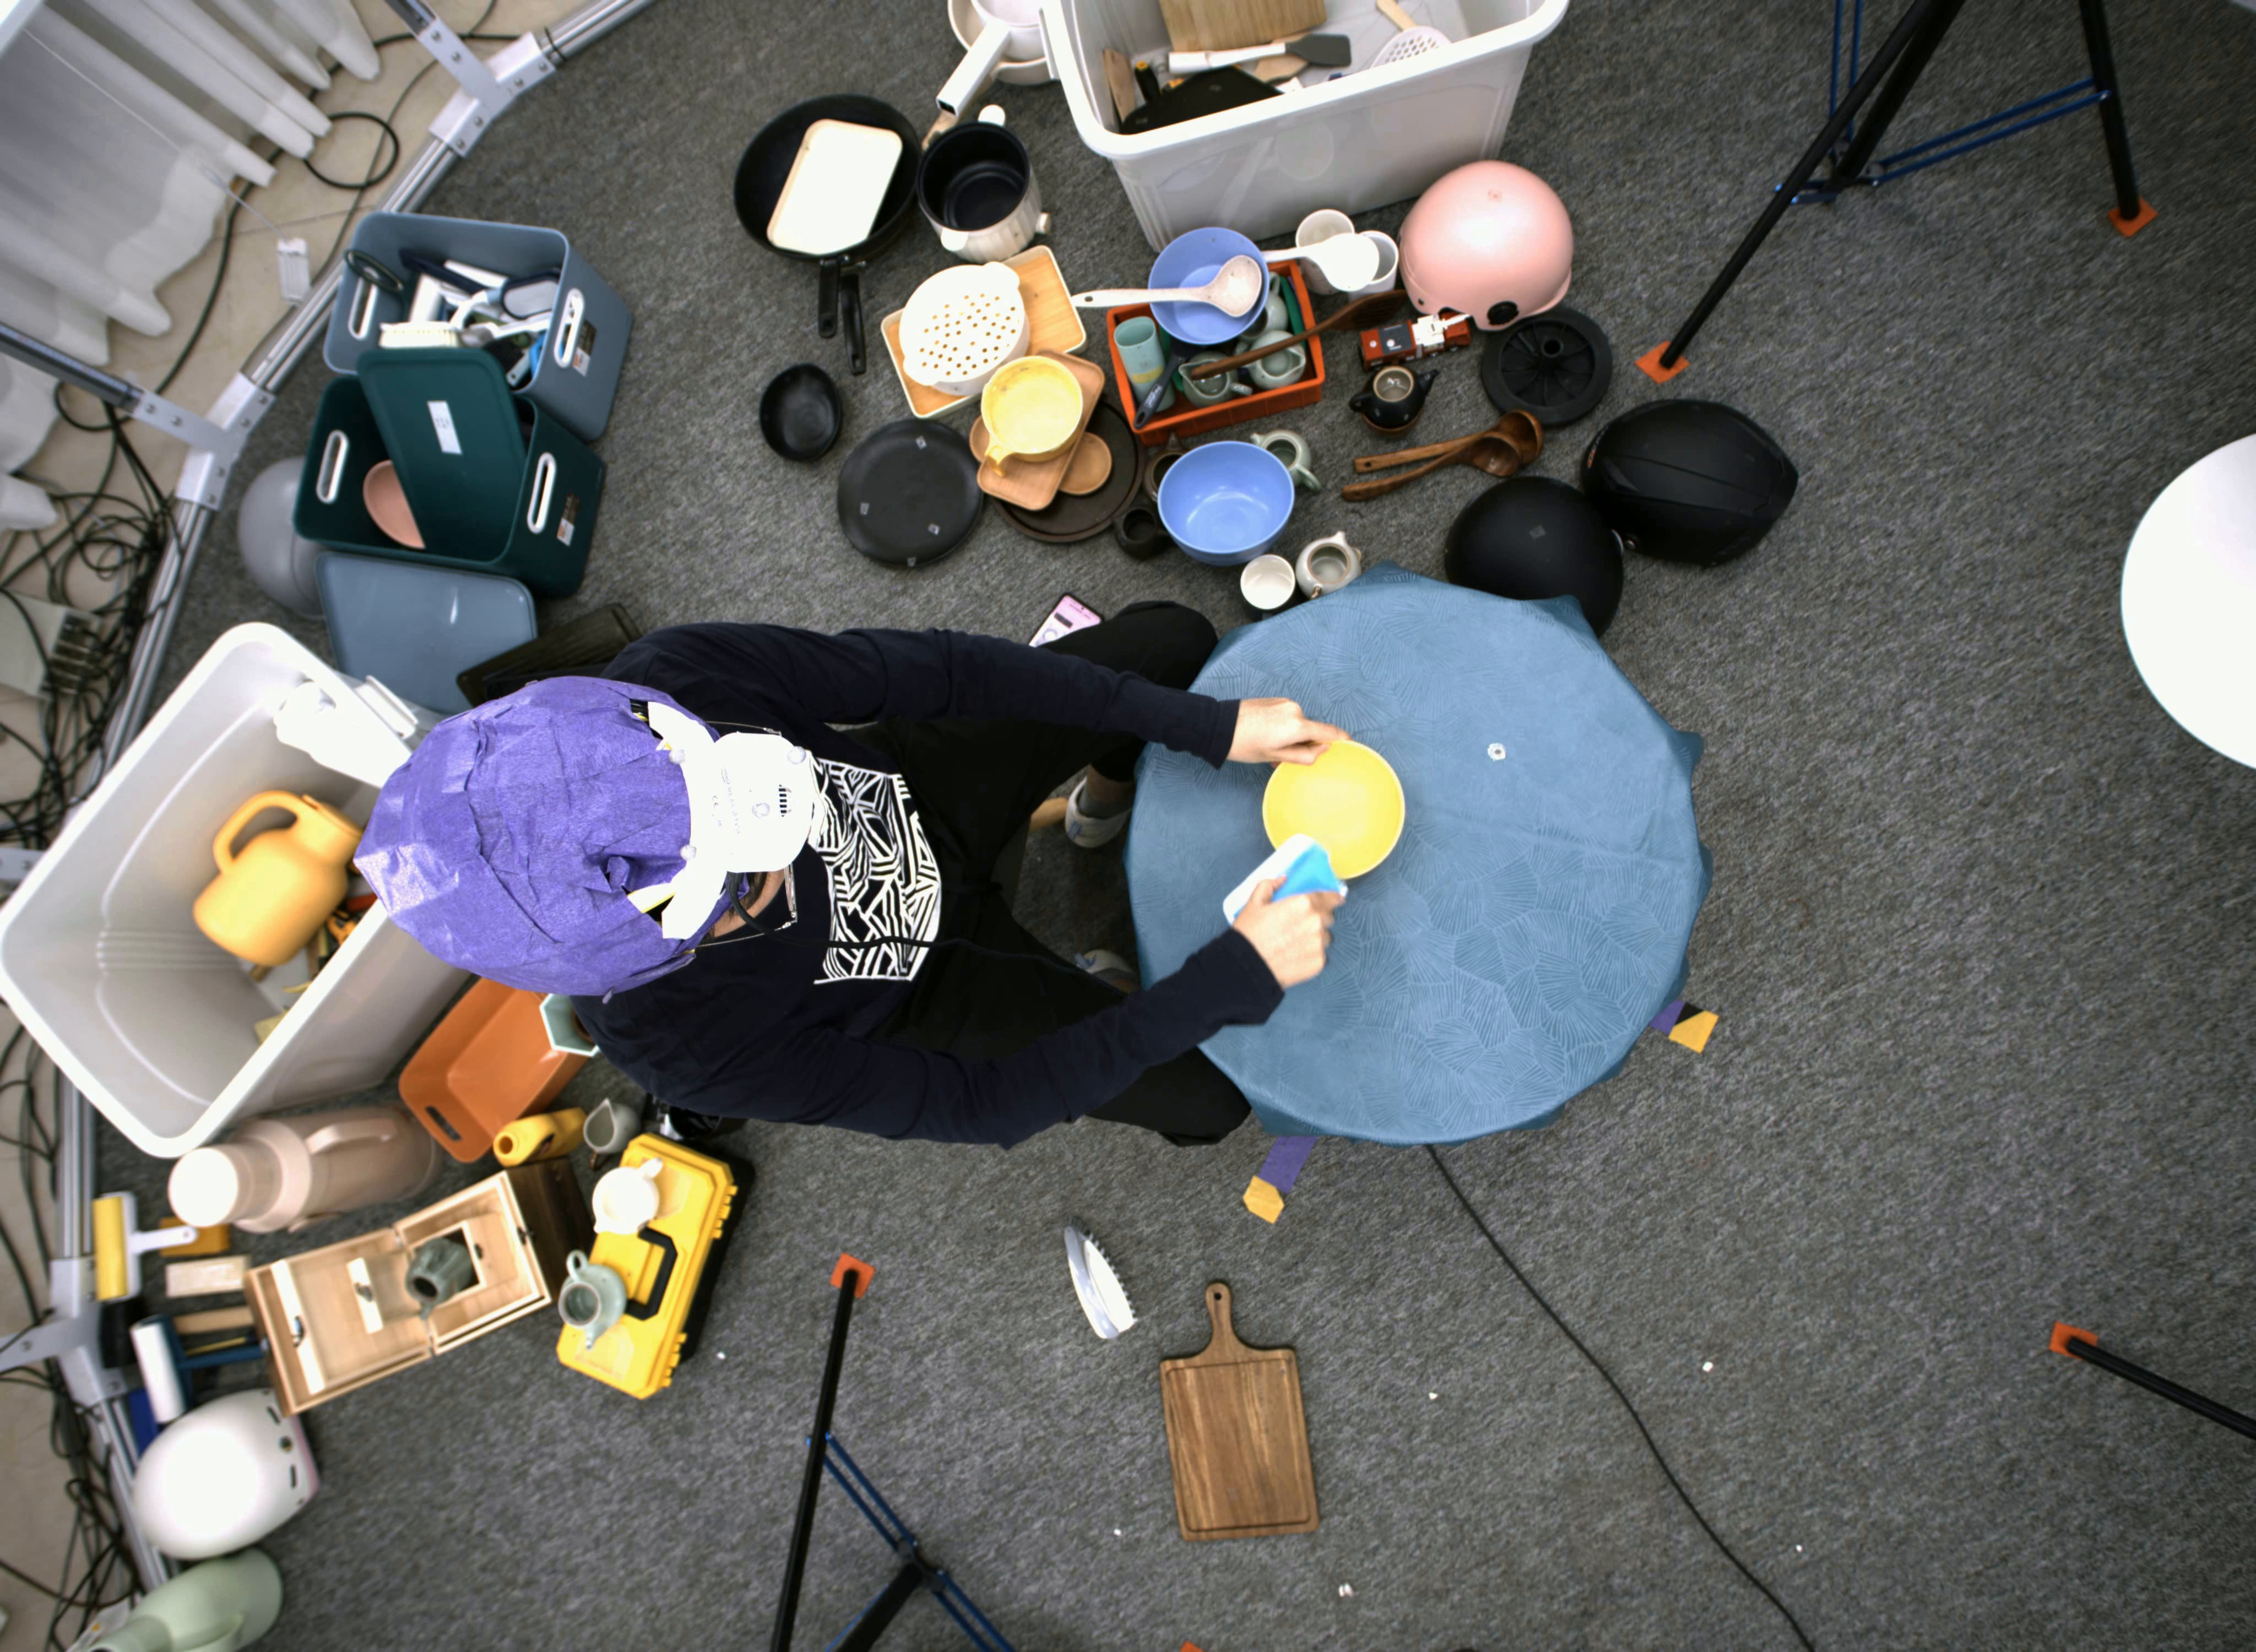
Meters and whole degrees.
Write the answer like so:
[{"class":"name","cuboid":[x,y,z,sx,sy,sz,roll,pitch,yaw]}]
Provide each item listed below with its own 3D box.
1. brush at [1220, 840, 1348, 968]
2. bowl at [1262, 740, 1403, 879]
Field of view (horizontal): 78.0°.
[{"class":"brush","cuboid":[0.159,0.068,1.342,0.141,0.057,0.084,-38,90,-33]},{"class":"bowl","cuboid":[0.210,-0.019,1.439,0.145,0.059,0.146,0,97,2]}]
